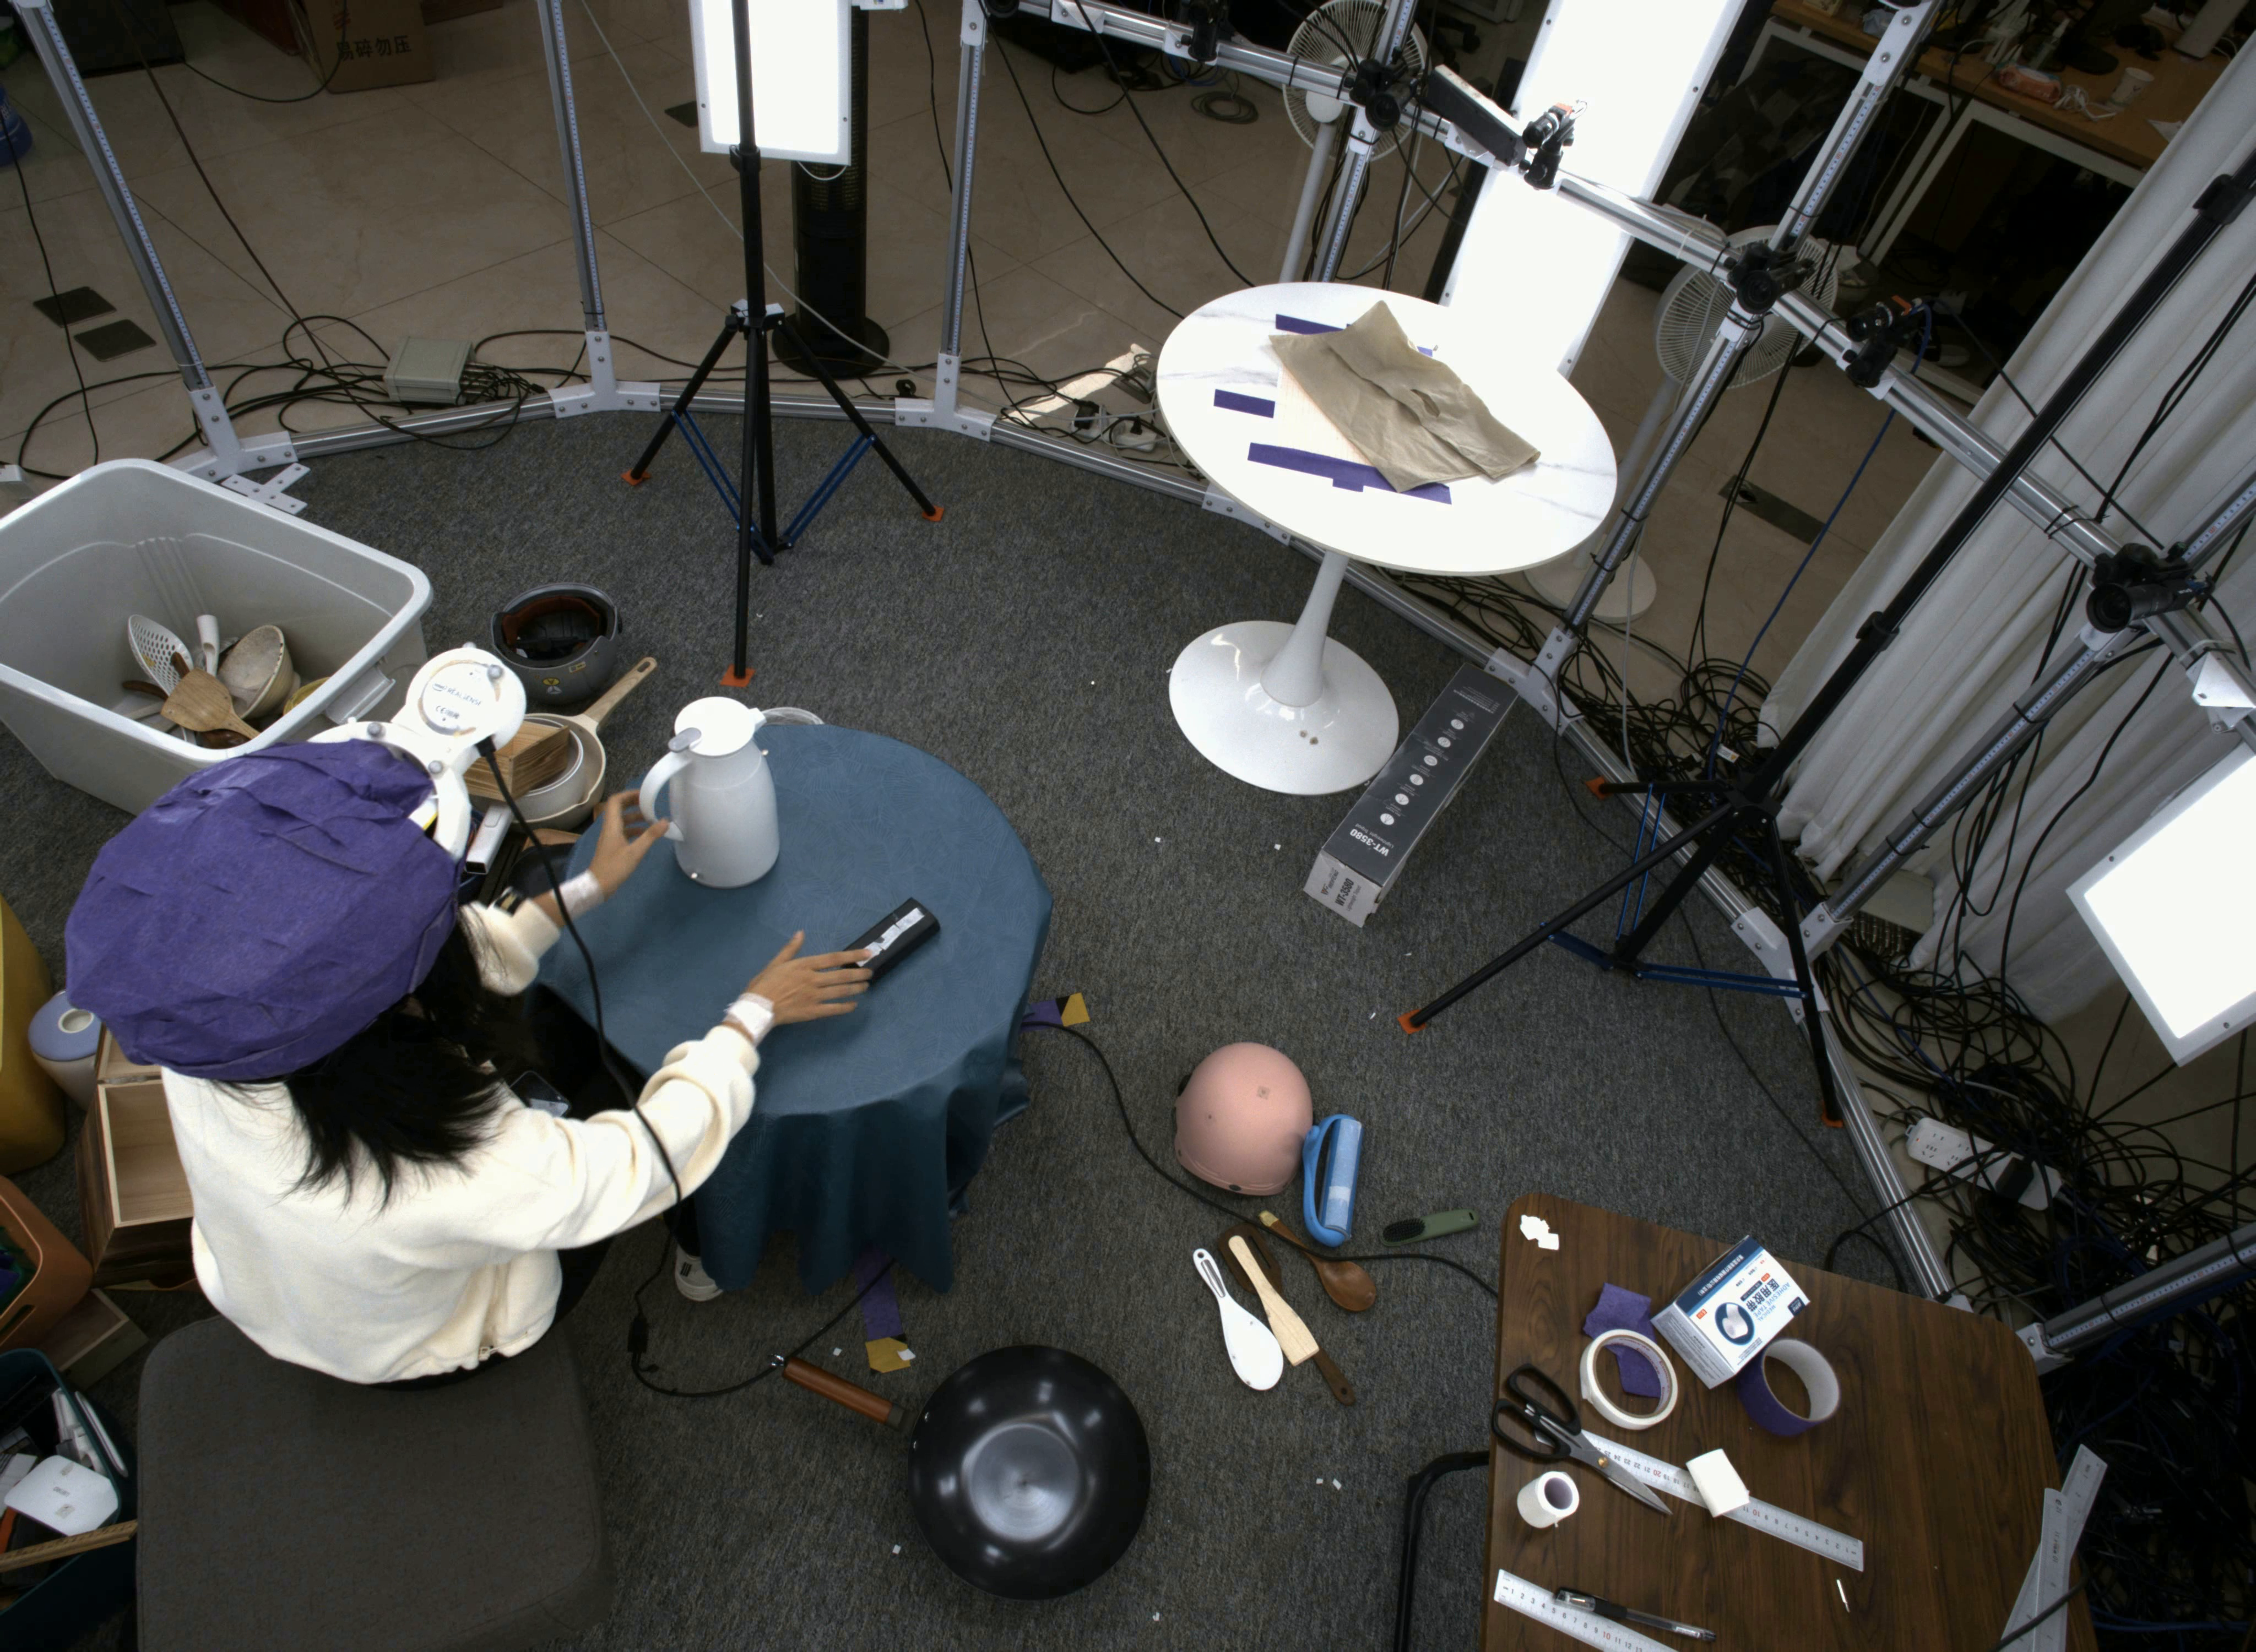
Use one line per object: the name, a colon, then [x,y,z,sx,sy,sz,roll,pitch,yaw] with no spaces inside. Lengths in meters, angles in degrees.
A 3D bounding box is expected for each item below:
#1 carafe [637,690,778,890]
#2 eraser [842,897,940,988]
carafe: [-0.514,-0.040,1.564,0.168,0.254,0.129,-34,66,-31]
eraser: [-0.295,0.142,1.628,0.052,0.031,0.125,35,53,17]
